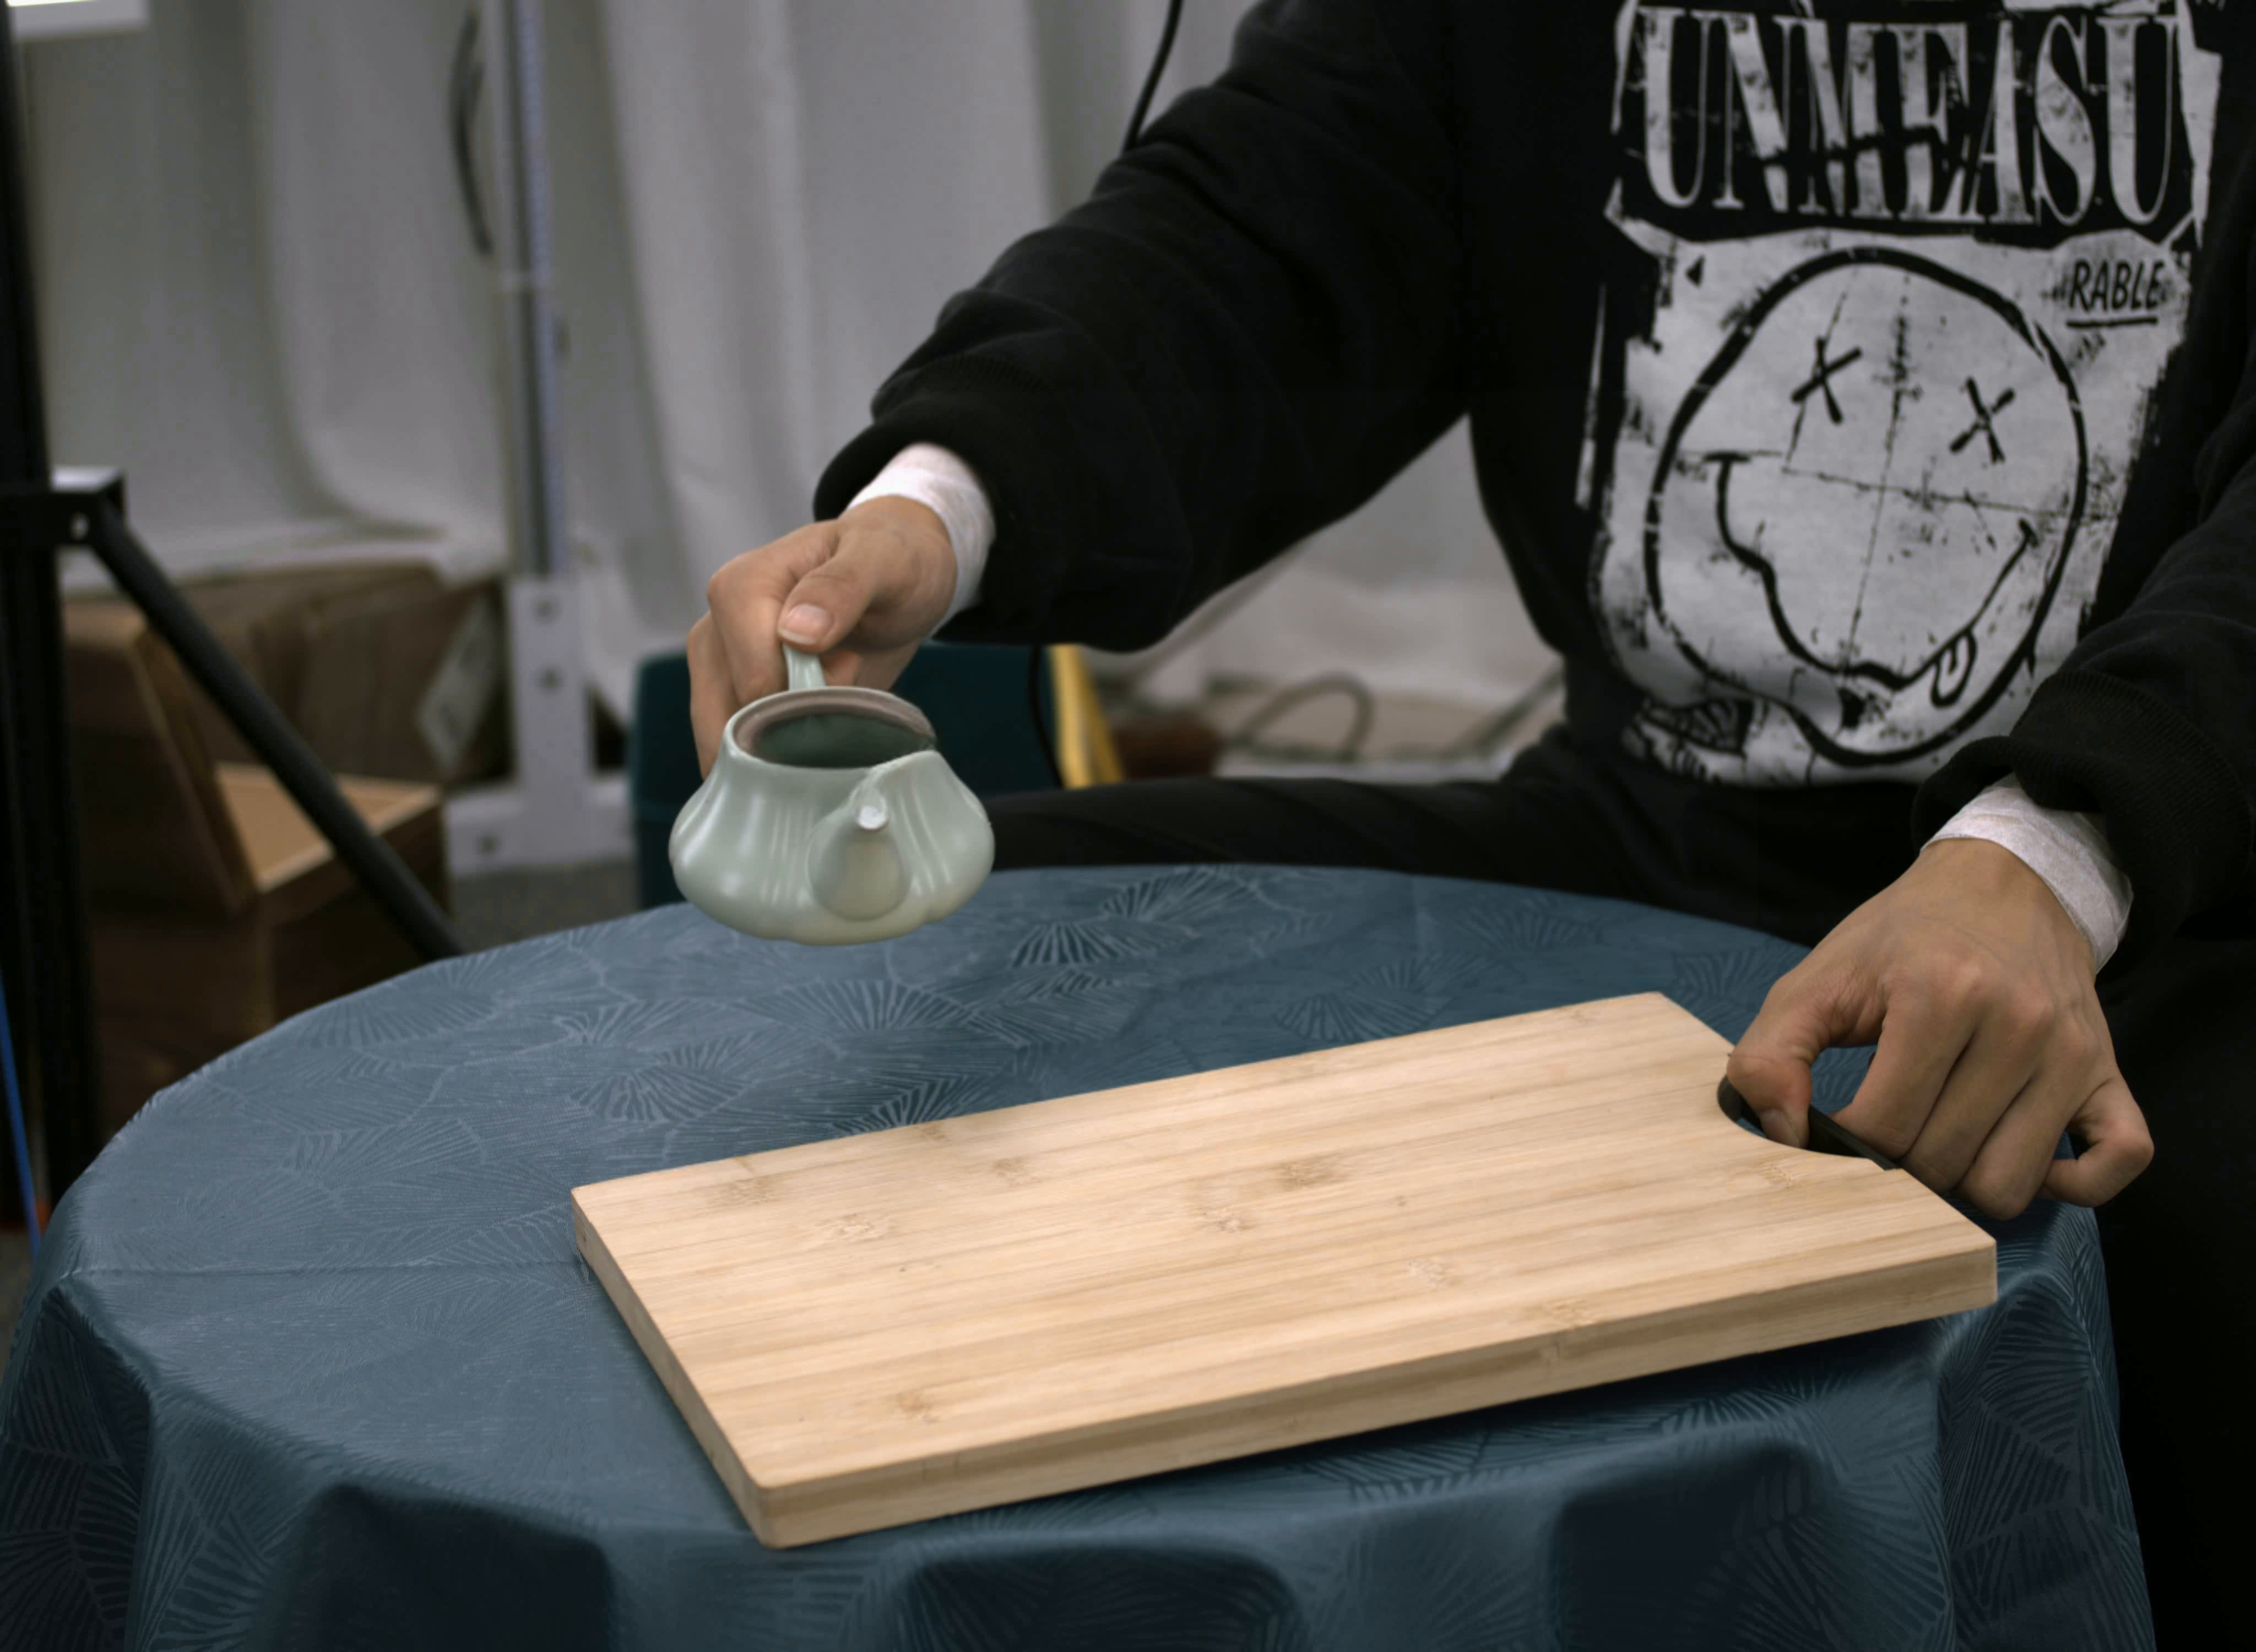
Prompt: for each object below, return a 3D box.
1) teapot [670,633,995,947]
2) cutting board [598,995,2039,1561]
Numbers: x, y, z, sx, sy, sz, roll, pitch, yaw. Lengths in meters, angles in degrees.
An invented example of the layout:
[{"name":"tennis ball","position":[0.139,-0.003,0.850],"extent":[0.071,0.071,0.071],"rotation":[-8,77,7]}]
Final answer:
[{"name":"teapot","position":[-0.089,-0.007,1.576],"extent":[0.095,0.061,0.139],"rotation":[-9,28,-12]},{"name":"cutting board","position":[0.041,0.116,1.461],"extent":[0.343,0.023,0.255],"rotation":[-10,17,-14]}]
